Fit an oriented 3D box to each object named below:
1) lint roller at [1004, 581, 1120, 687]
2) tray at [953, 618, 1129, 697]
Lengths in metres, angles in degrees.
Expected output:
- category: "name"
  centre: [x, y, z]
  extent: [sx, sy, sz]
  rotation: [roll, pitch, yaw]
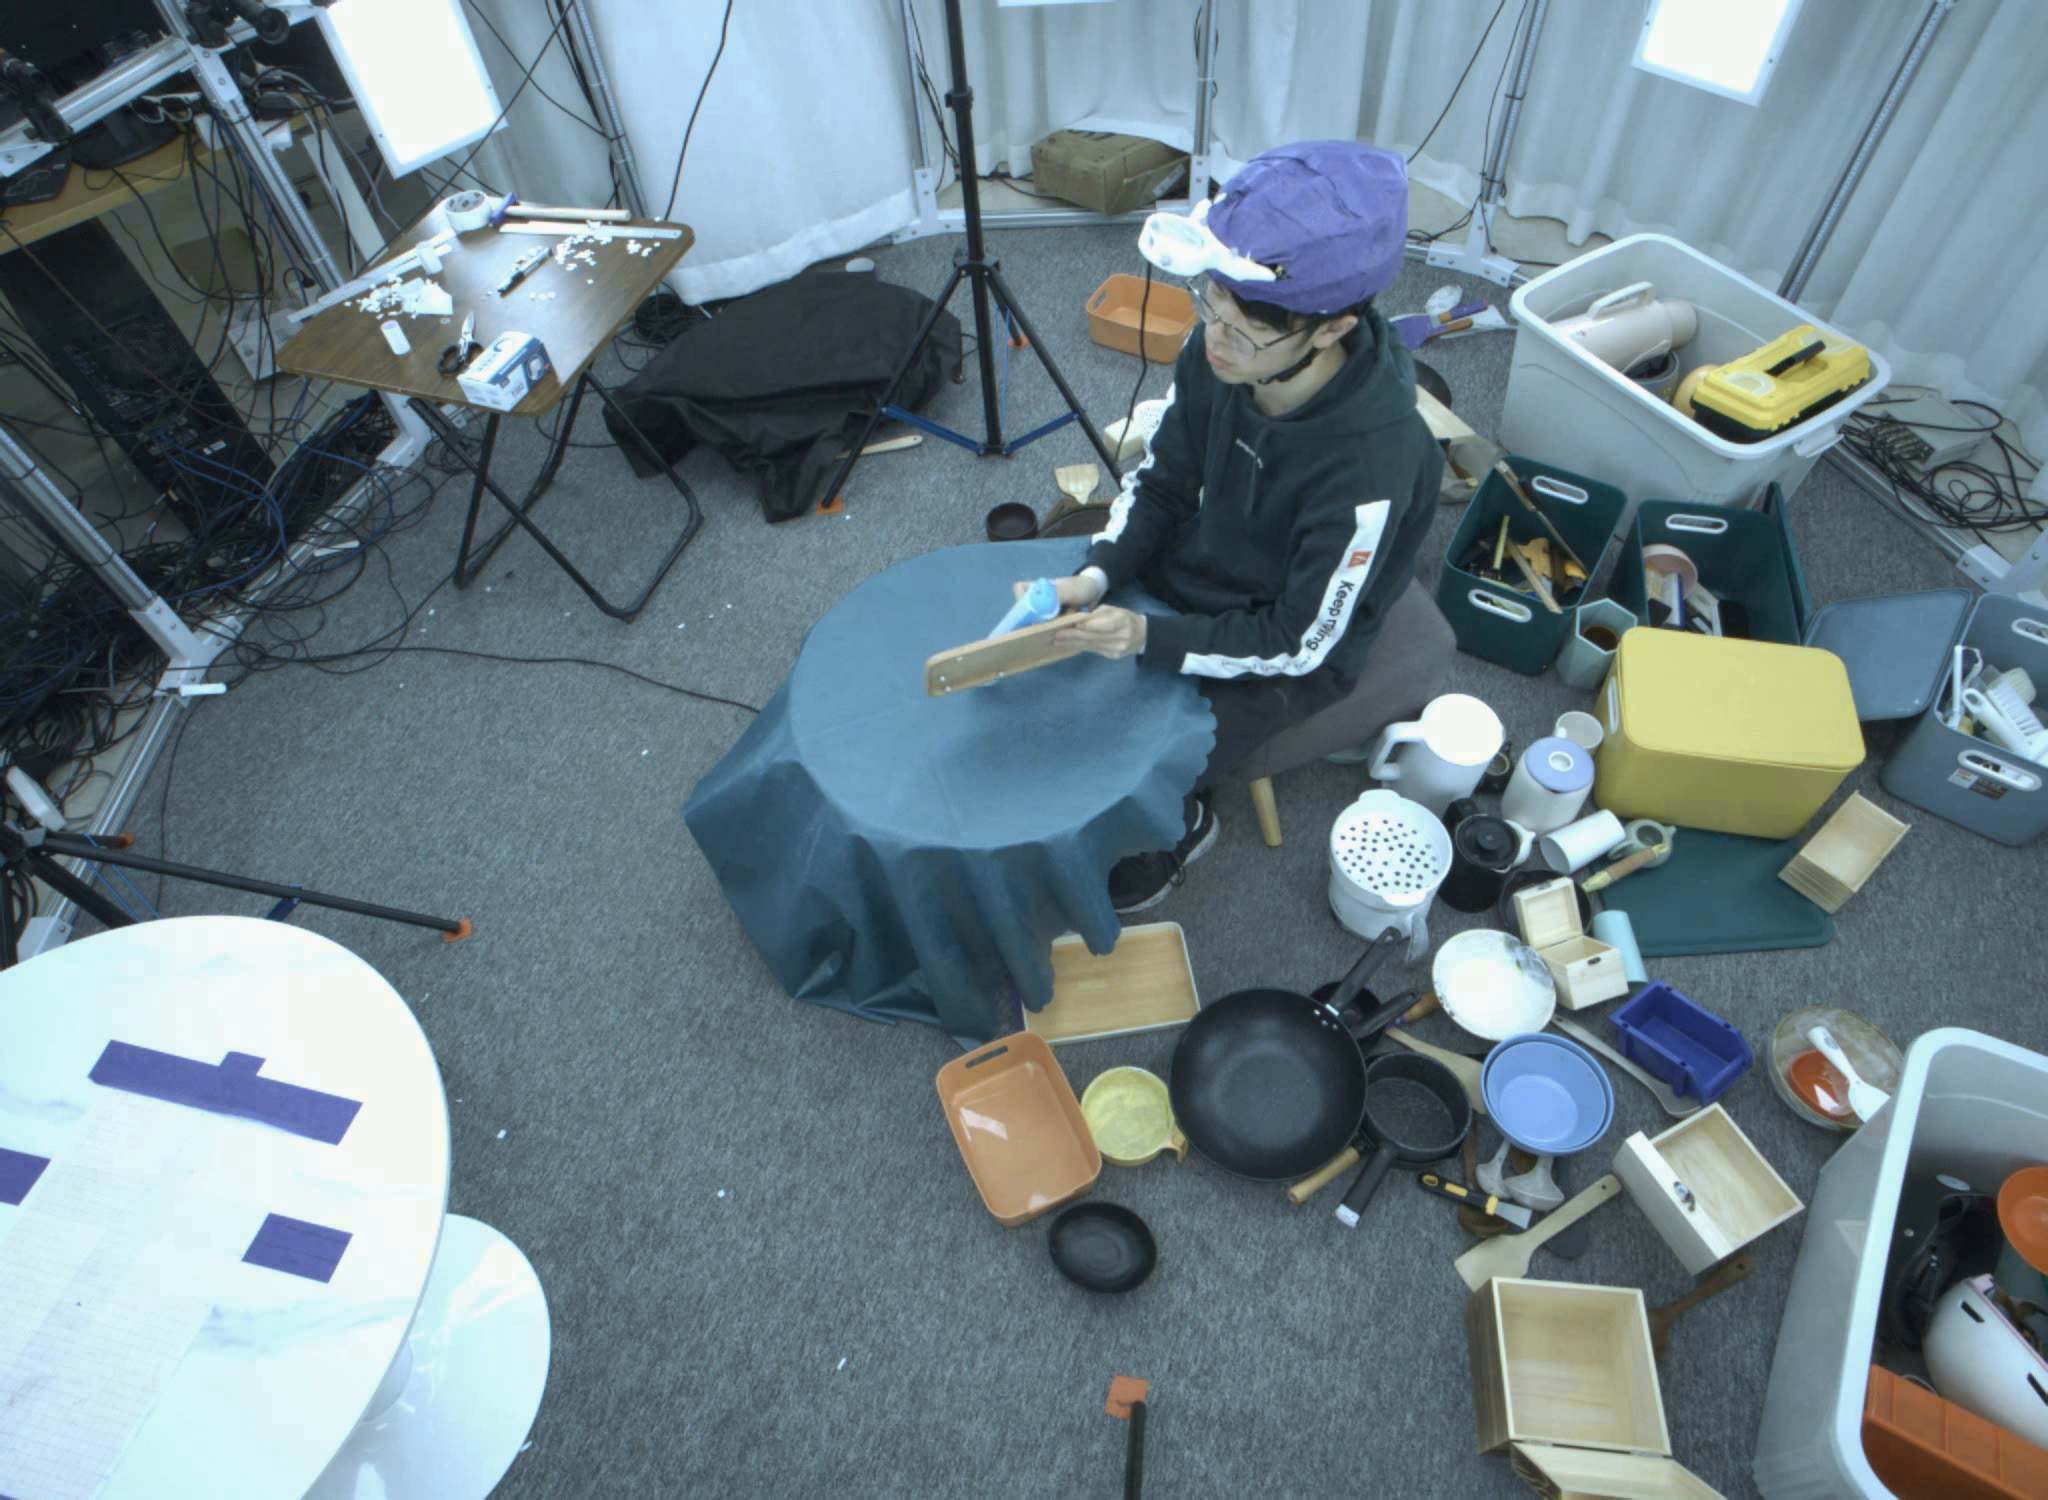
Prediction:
- category: "lint roller"
  centre: [0.060, -0.180, 1.783]
  extent: [0.182, 0.227, 0.067]
  rotation: [-29, 80, -40]
- category: "tray"
  centre: [0.021, -0.129, 1.713]
  extent: [0.252, 0.130, 0.022]
  rotation: [-16, 76, -12]
